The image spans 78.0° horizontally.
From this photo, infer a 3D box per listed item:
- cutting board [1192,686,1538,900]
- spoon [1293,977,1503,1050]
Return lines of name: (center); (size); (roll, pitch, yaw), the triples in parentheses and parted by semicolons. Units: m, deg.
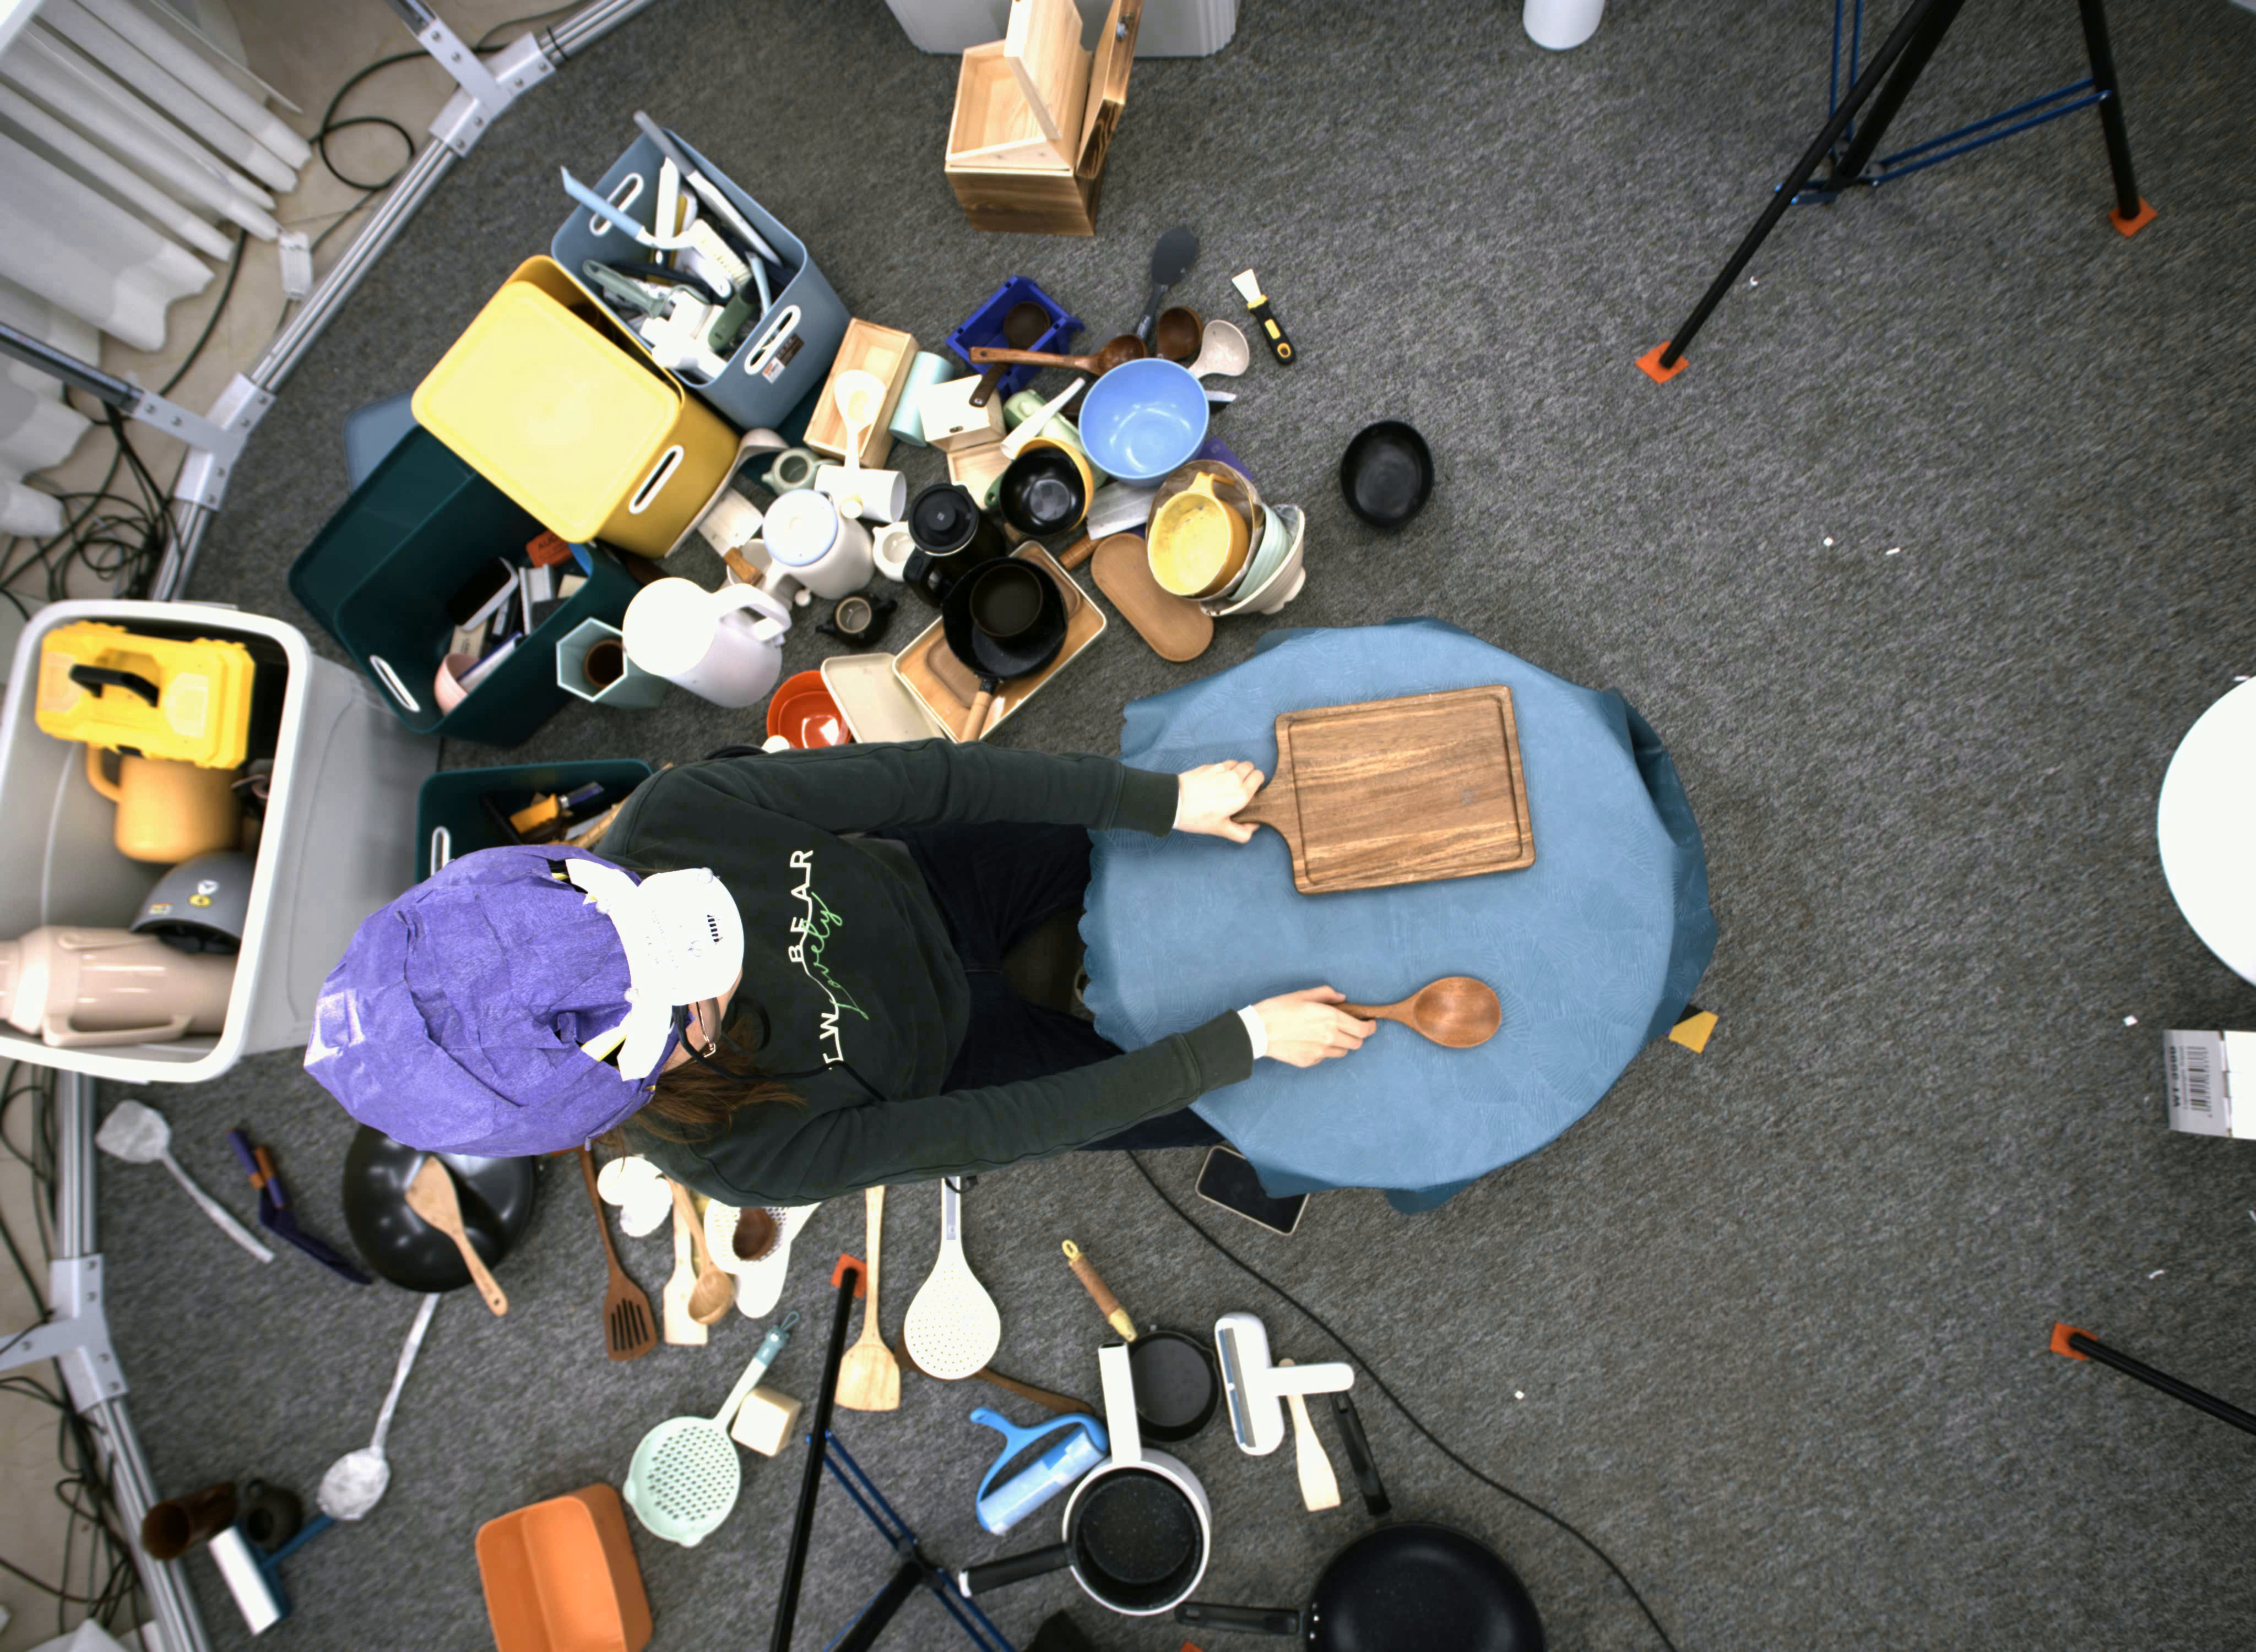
cutting board: (0.243, -0.030, 1.459); (0.353, 0.023, 0.200); (-7, 86, 7)
spoon: (0.281, 0.194, 1.445); (0.216, 0.017, 0.075); (-1, 88, 9)
